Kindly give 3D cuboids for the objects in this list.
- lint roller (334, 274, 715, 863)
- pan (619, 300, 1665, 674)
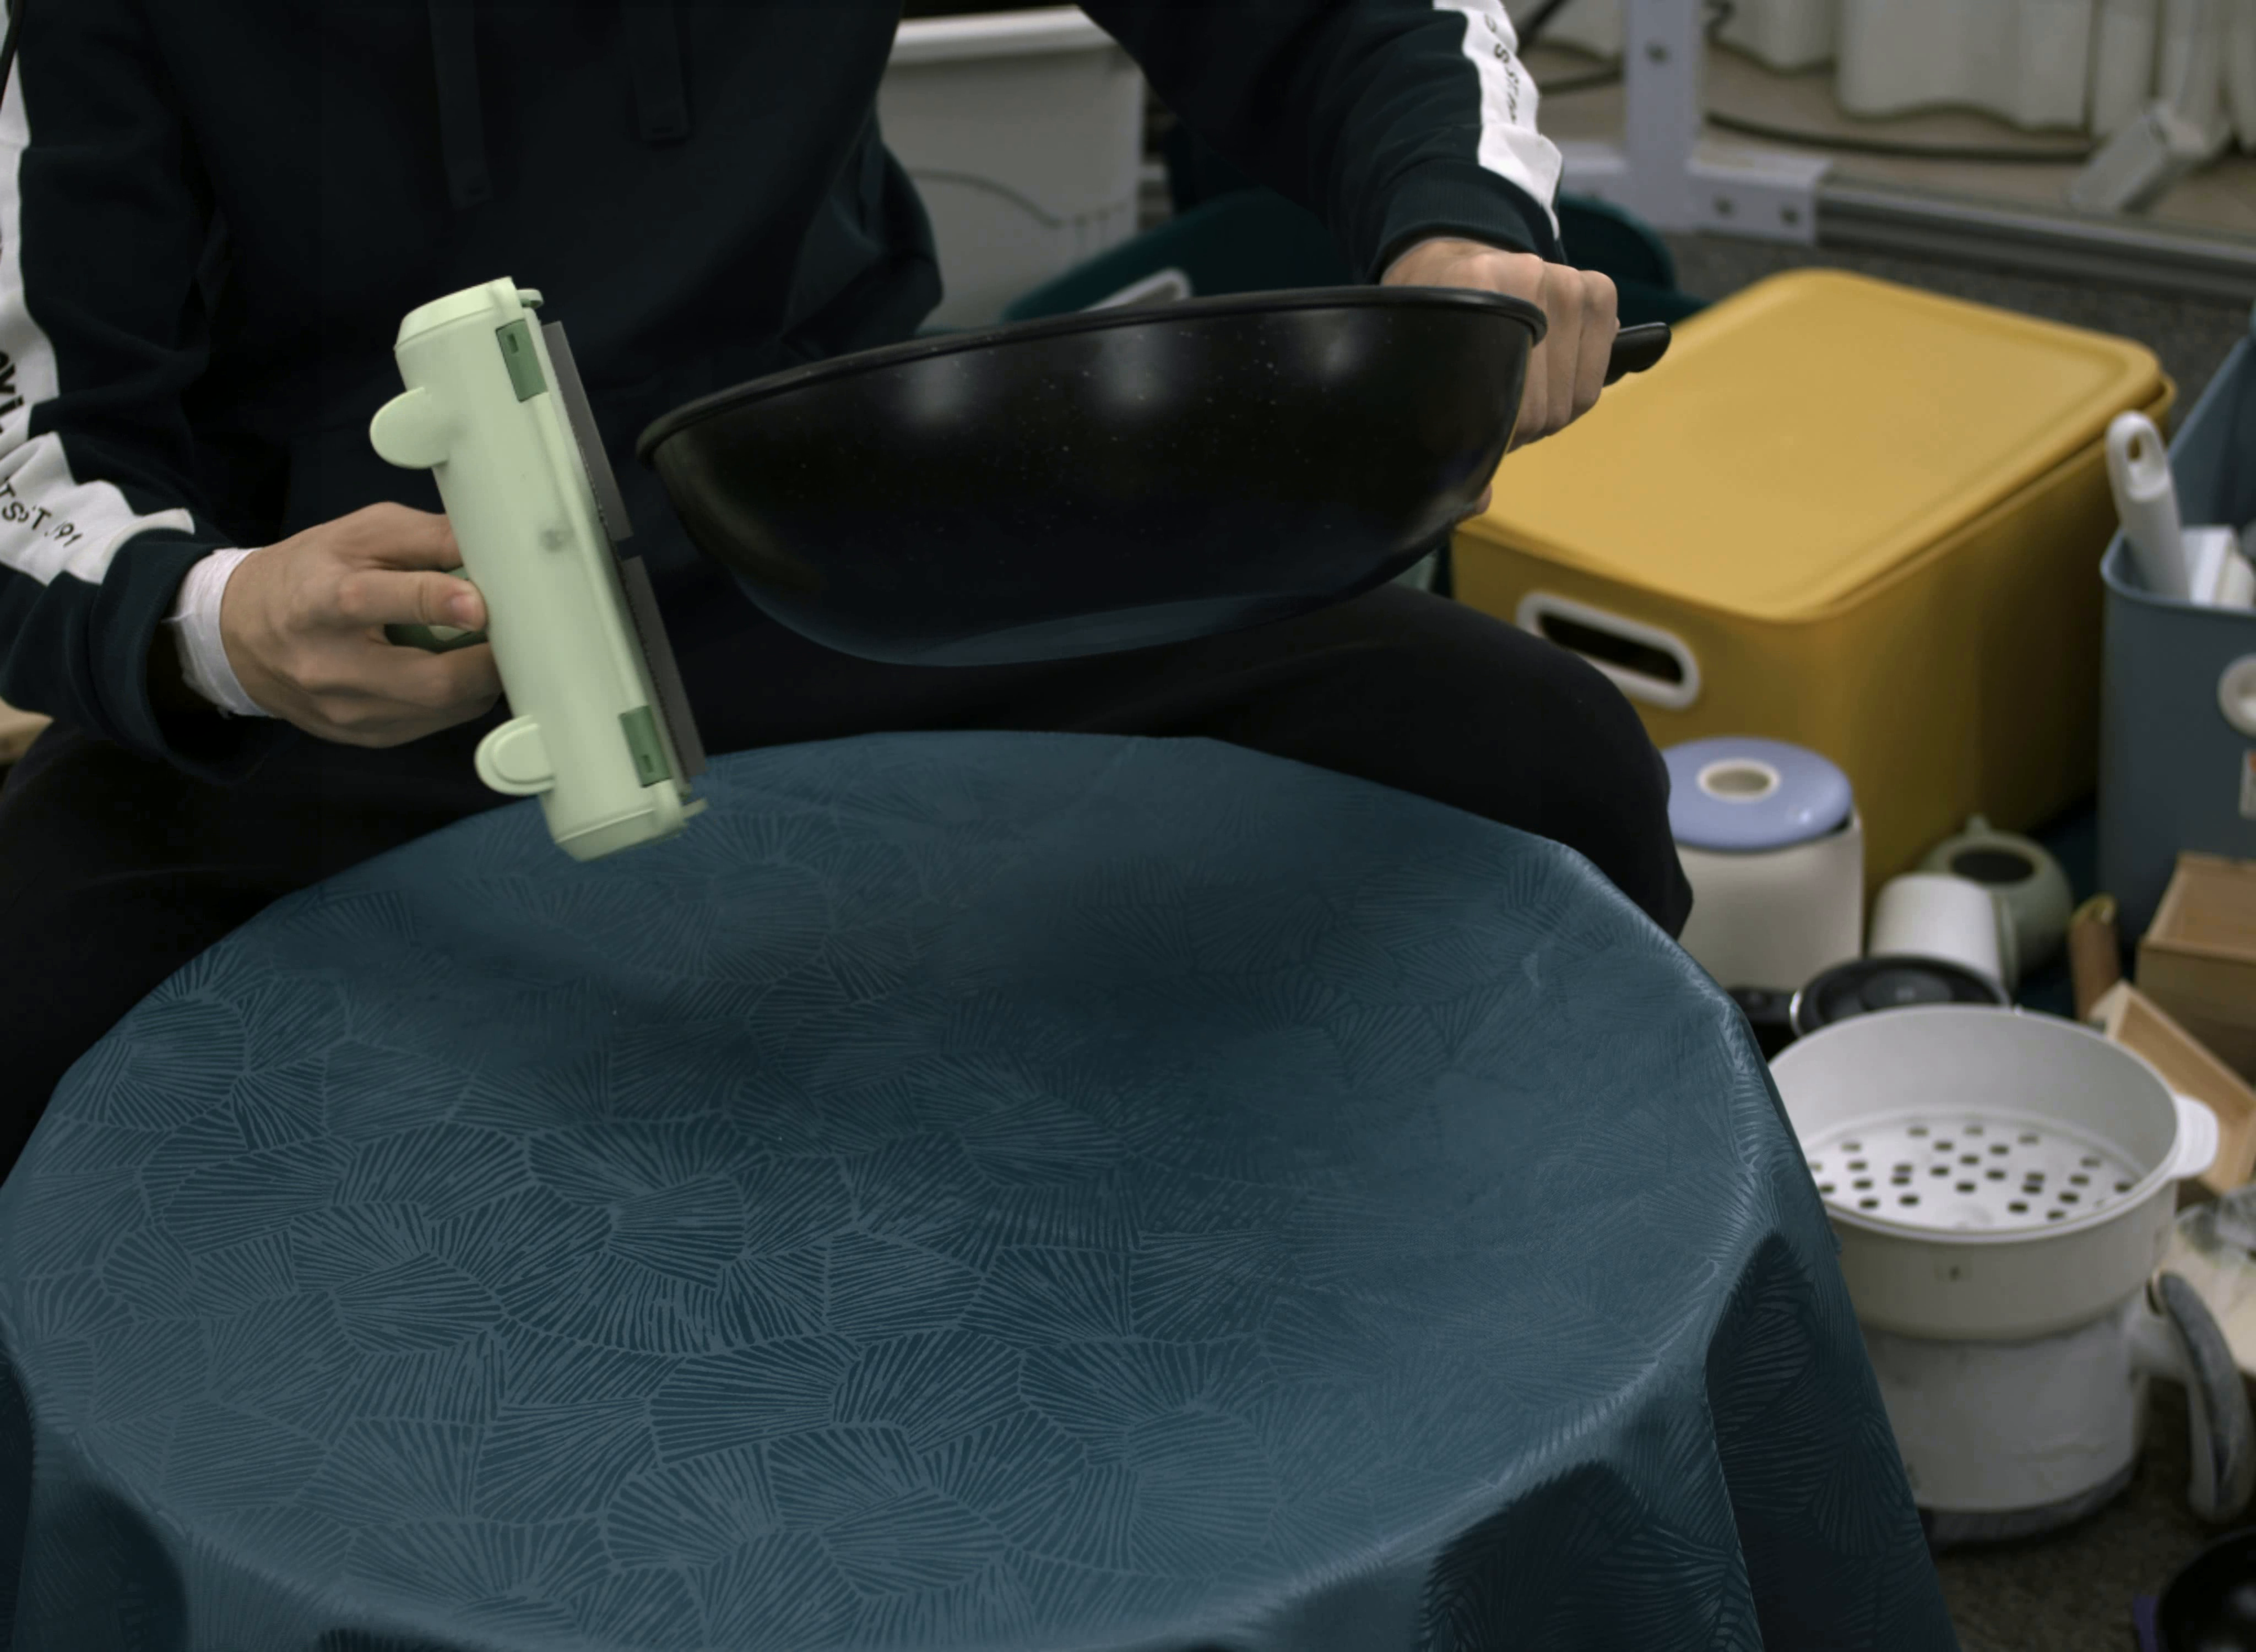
[{"bbox_3d":[-0.236,-0.071,1.931,0.180,0.199,0.083,-20,-1,42],"label":"lint roller"},{"bbox_3d":[0.042,-0.120,1.946,0.306,0.112,0.479,-11,-4,41],"label":"pan"}]
